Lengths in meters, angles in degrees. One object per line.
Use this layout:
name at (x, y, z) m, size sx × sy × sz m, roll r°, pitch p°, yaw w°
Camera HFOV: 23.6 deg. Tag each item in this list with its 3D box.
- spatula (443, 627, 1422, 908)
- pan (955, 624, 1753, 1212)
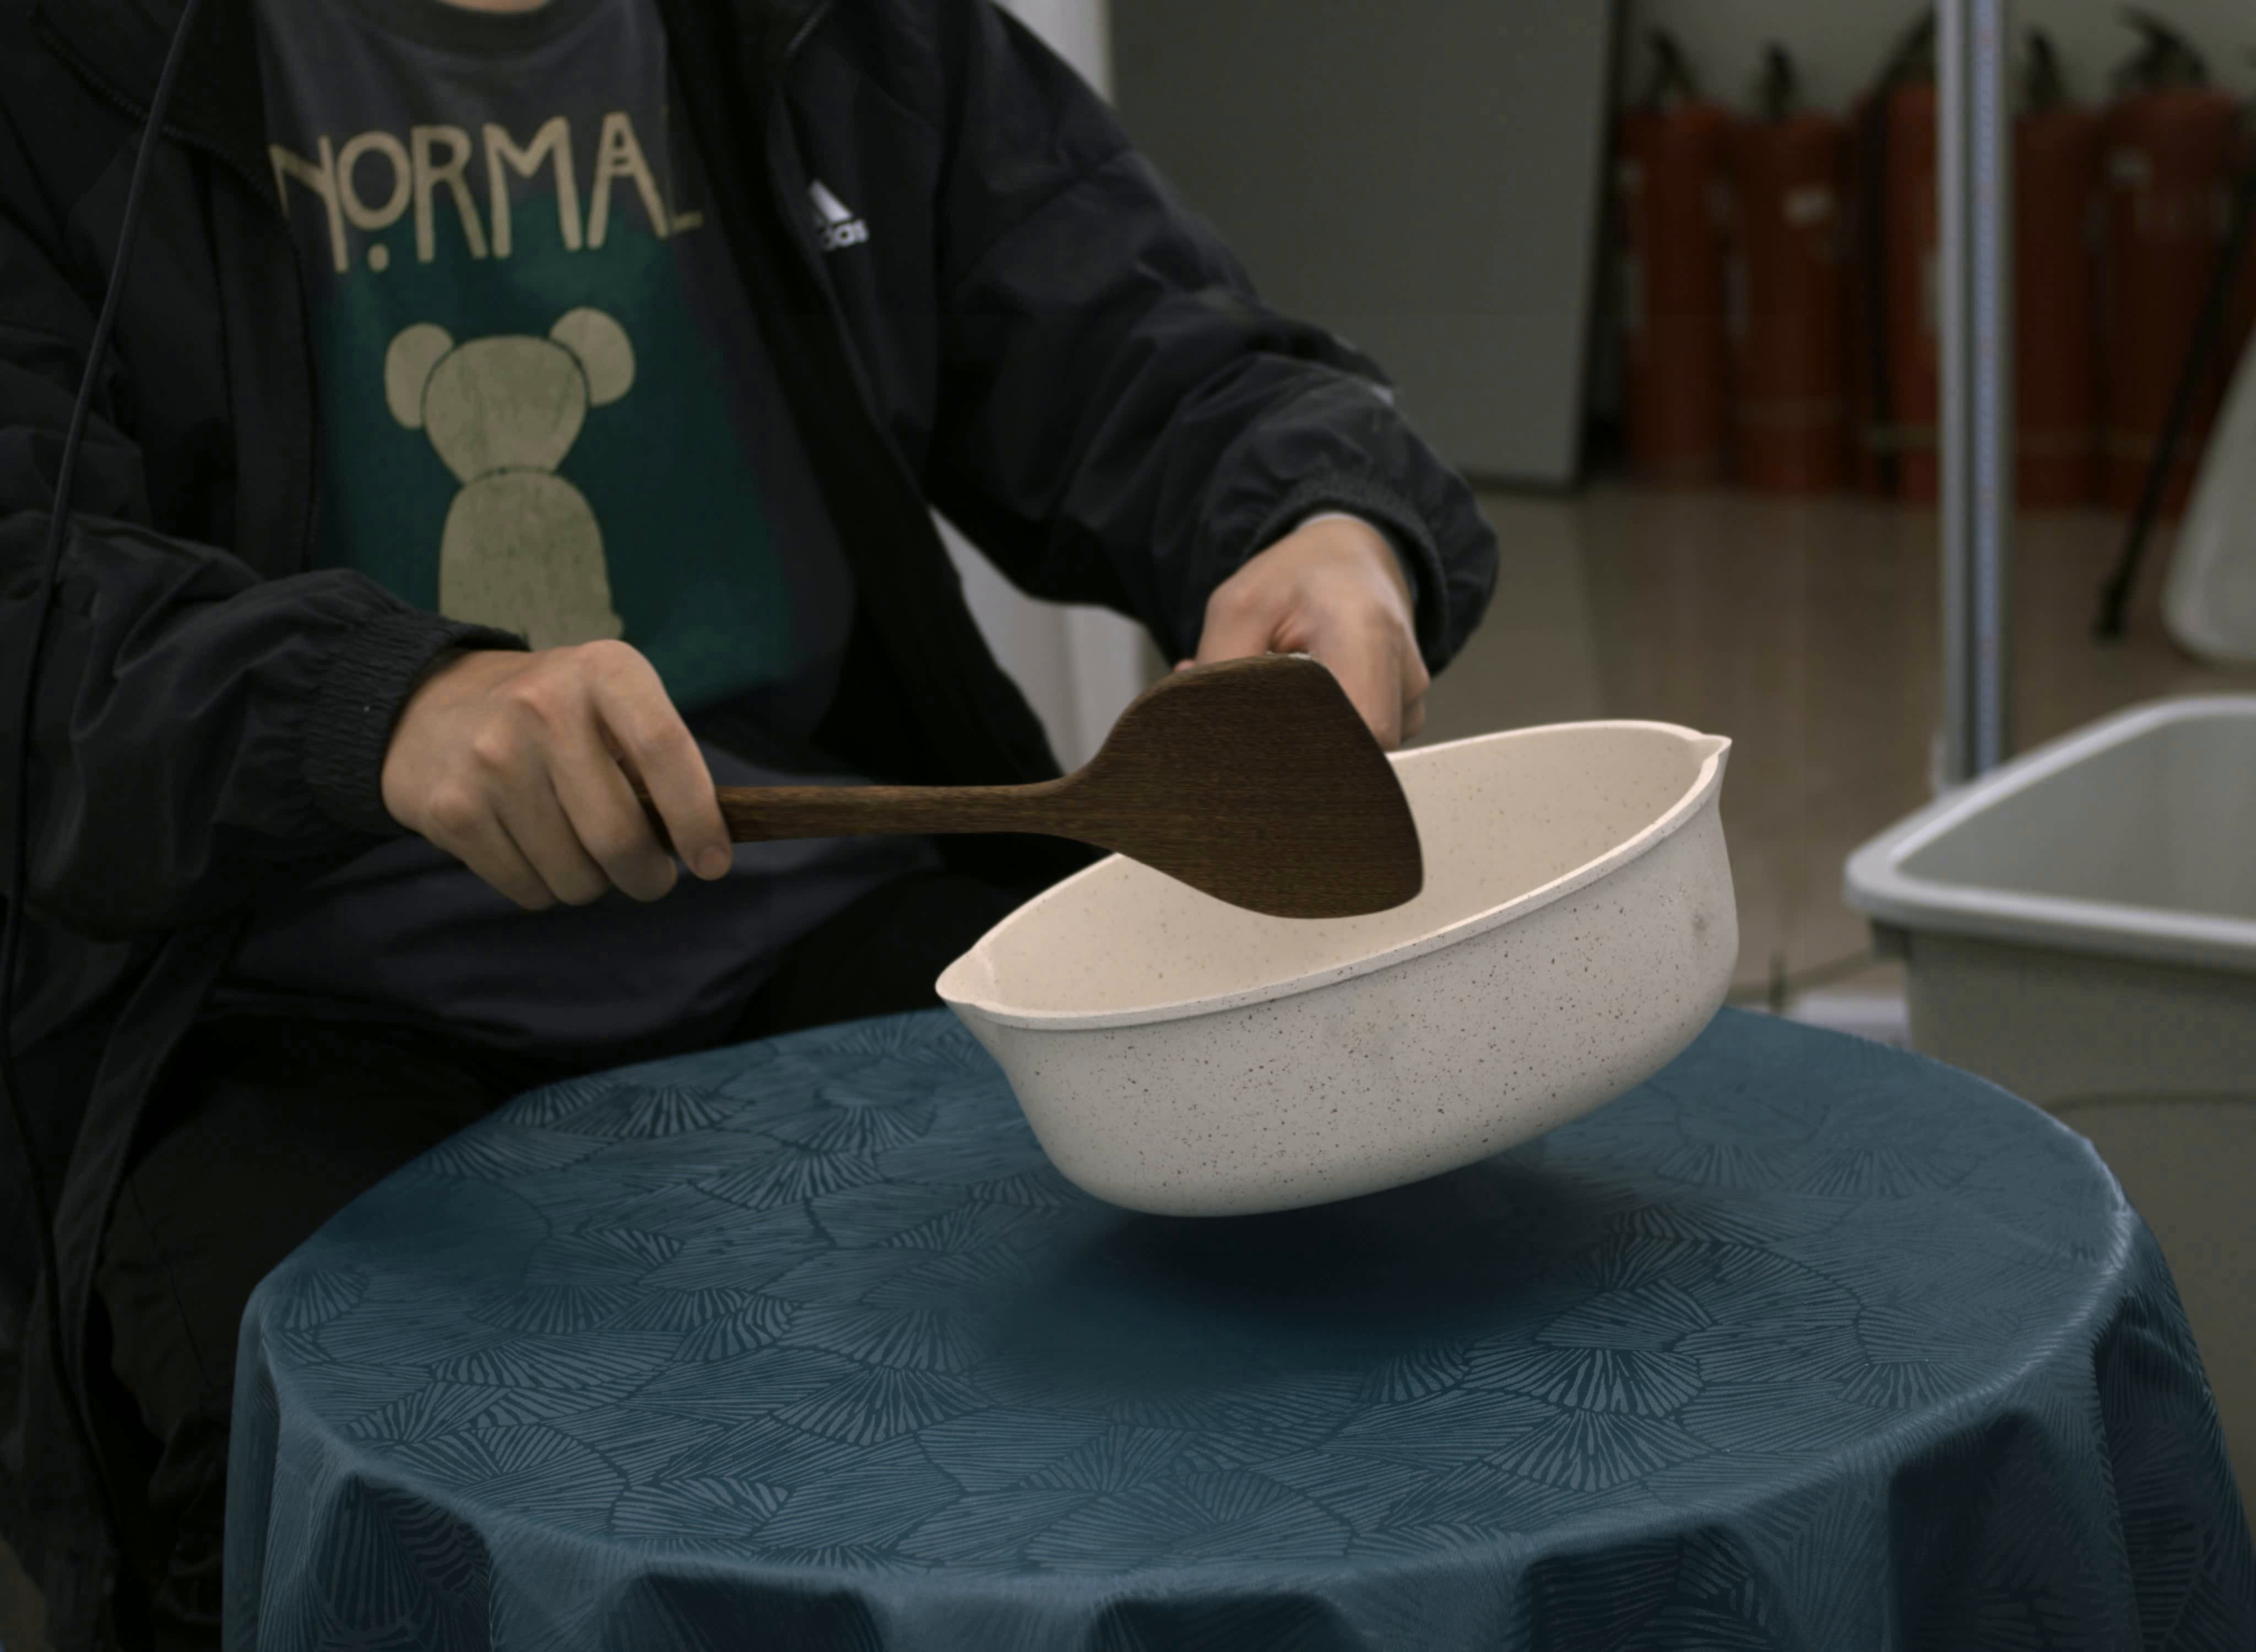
spatula at (-0.074, -0.008, 1.680) m, size 0.389 × 0.096 × 0.015 m, roll -3°, pitch 34°, yaw 39°
pan at (0.075, 0.018, 1.781) m, size 0.261 × 0.102 × 0.435 m, roll -20°, pitch 12°, yaw 2°
